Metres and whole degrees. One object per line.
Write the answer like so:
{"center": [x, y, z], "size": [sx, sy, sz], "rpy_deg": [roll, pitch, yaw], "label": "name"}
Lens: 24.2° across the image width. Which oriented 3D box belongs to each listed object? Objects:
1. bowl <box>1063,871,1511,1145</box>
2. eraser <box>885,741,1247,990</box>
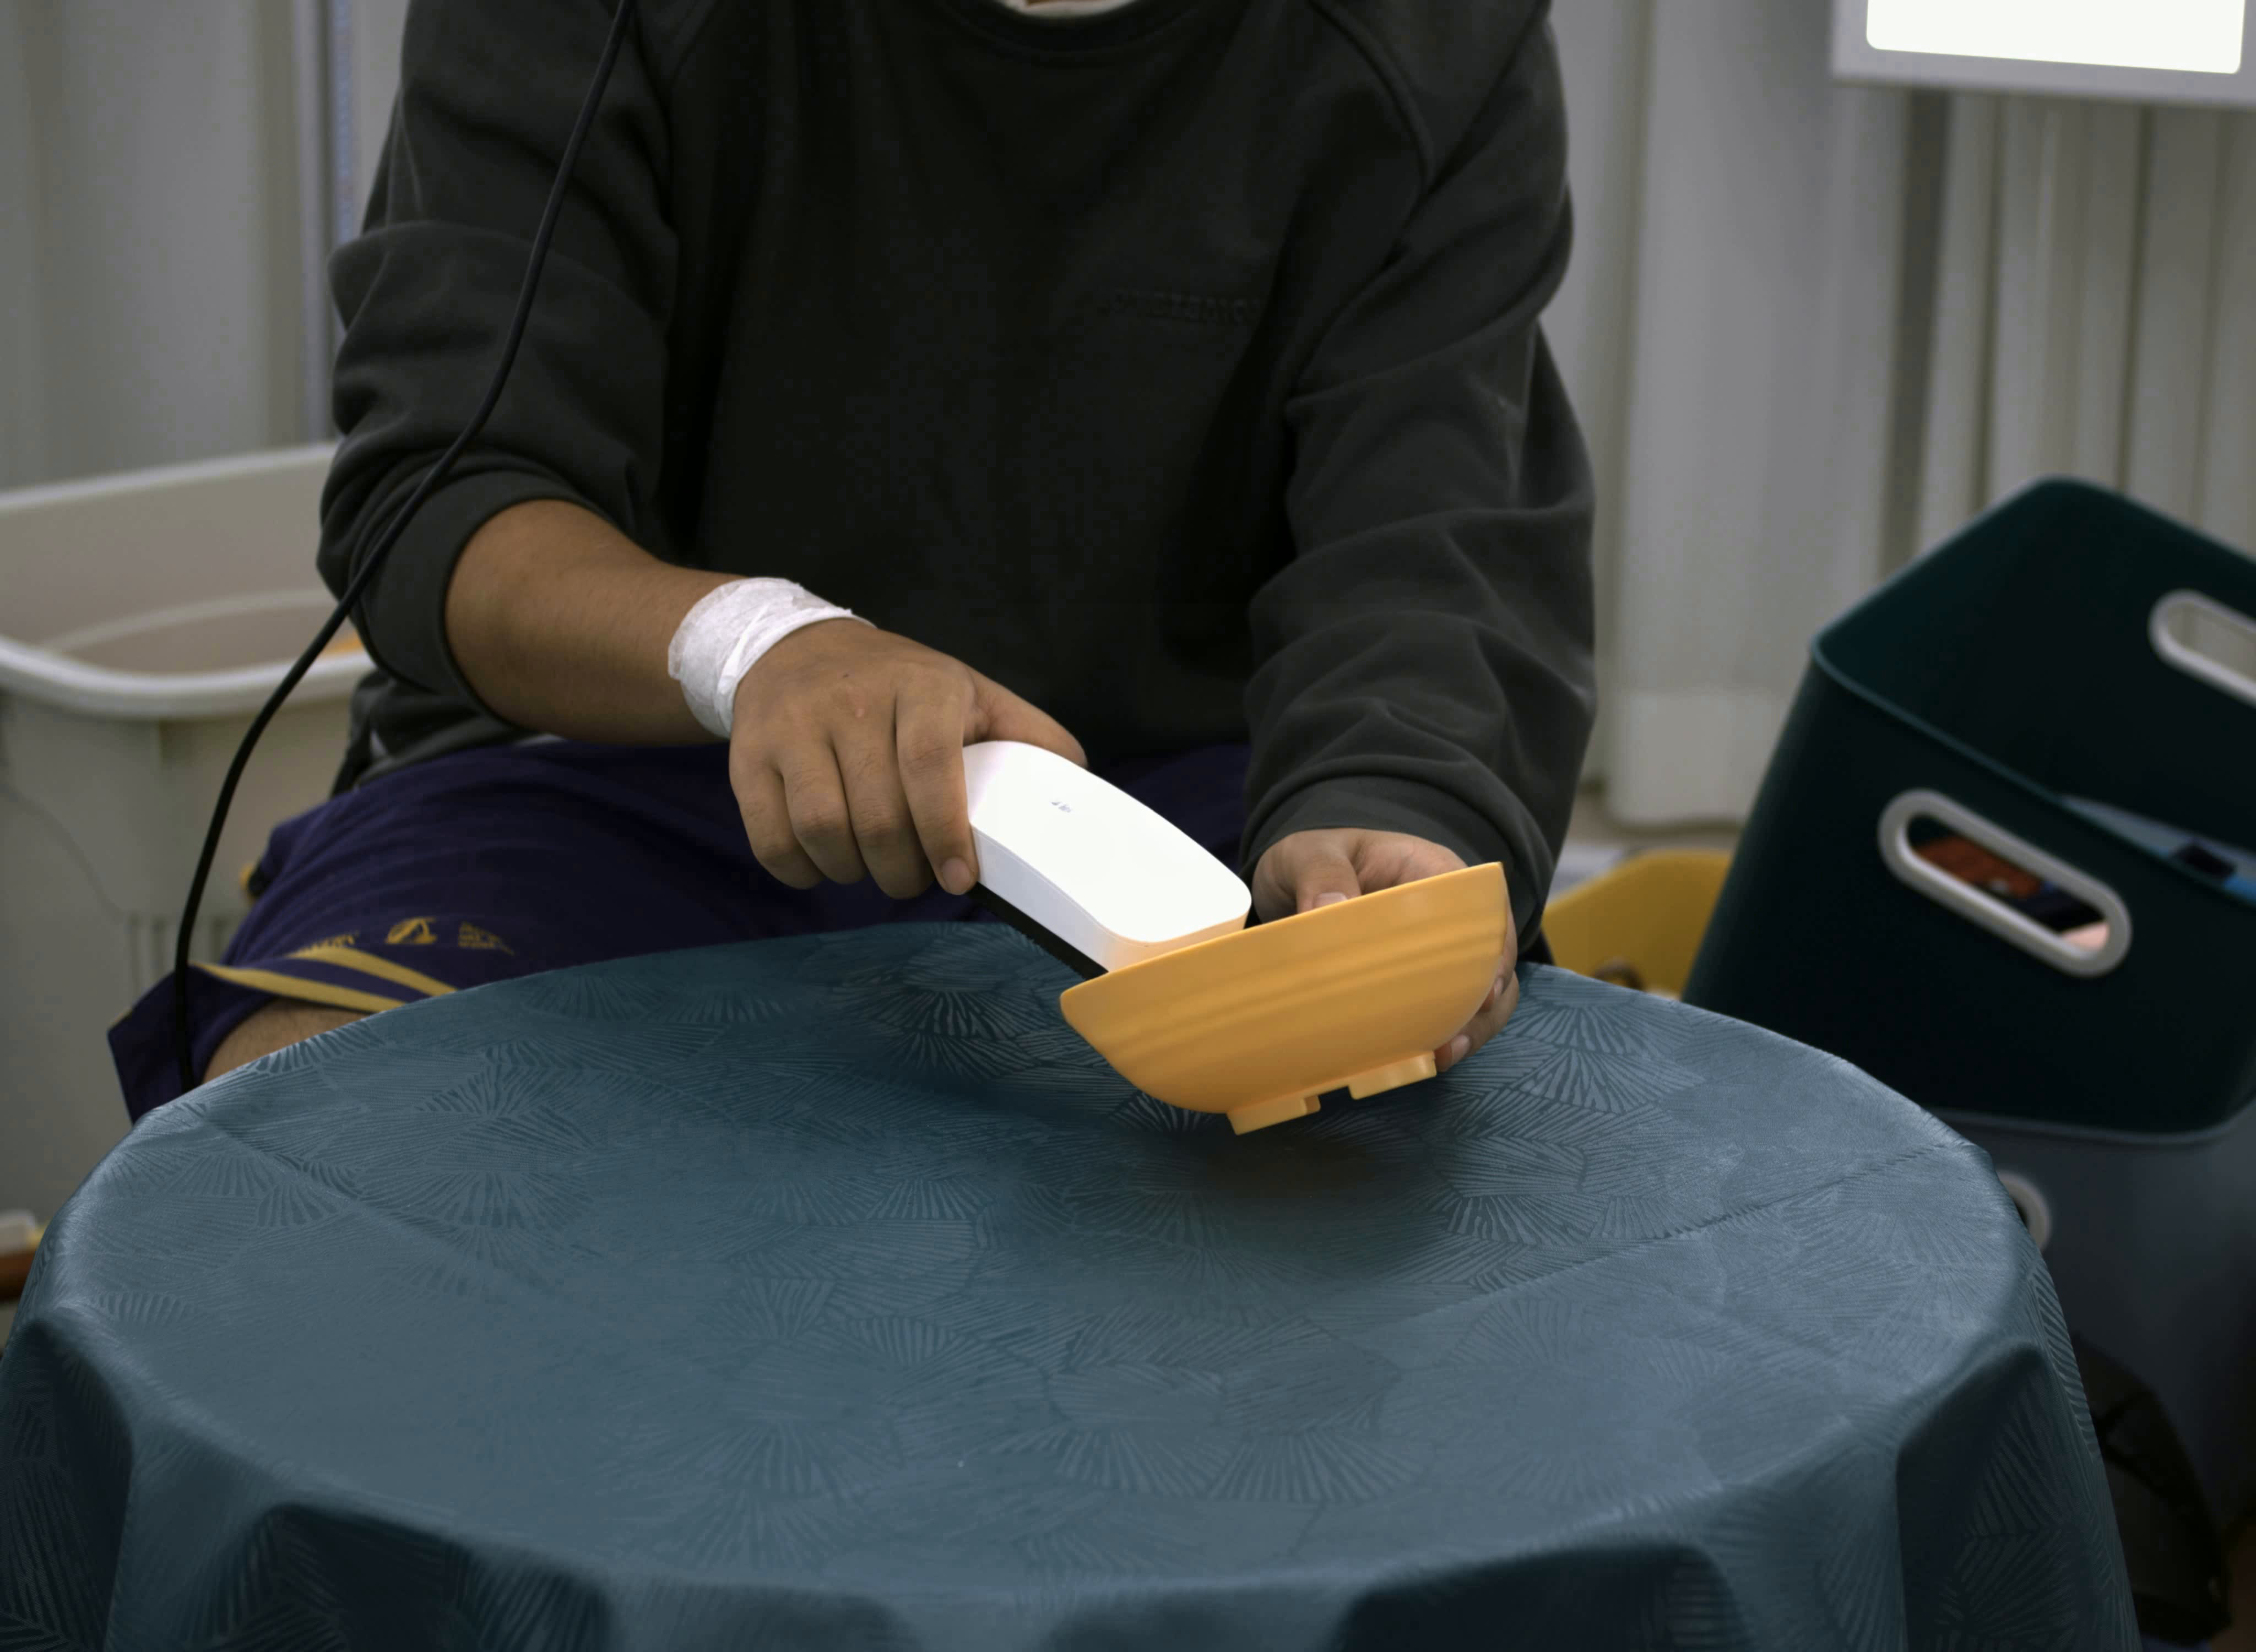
{"center": [0.057, 0.061, 1.632], "size": [0.145, 0.060, 0.145], "rpy_deg": [-16, -6, -1], "label": "bowl"}
{"center": [-0.021, 0.010, 1.708], "size": [0.063, 0.035, 0.129], "rpy_deg": [-15, 38, -40], "label": "eraser"}
